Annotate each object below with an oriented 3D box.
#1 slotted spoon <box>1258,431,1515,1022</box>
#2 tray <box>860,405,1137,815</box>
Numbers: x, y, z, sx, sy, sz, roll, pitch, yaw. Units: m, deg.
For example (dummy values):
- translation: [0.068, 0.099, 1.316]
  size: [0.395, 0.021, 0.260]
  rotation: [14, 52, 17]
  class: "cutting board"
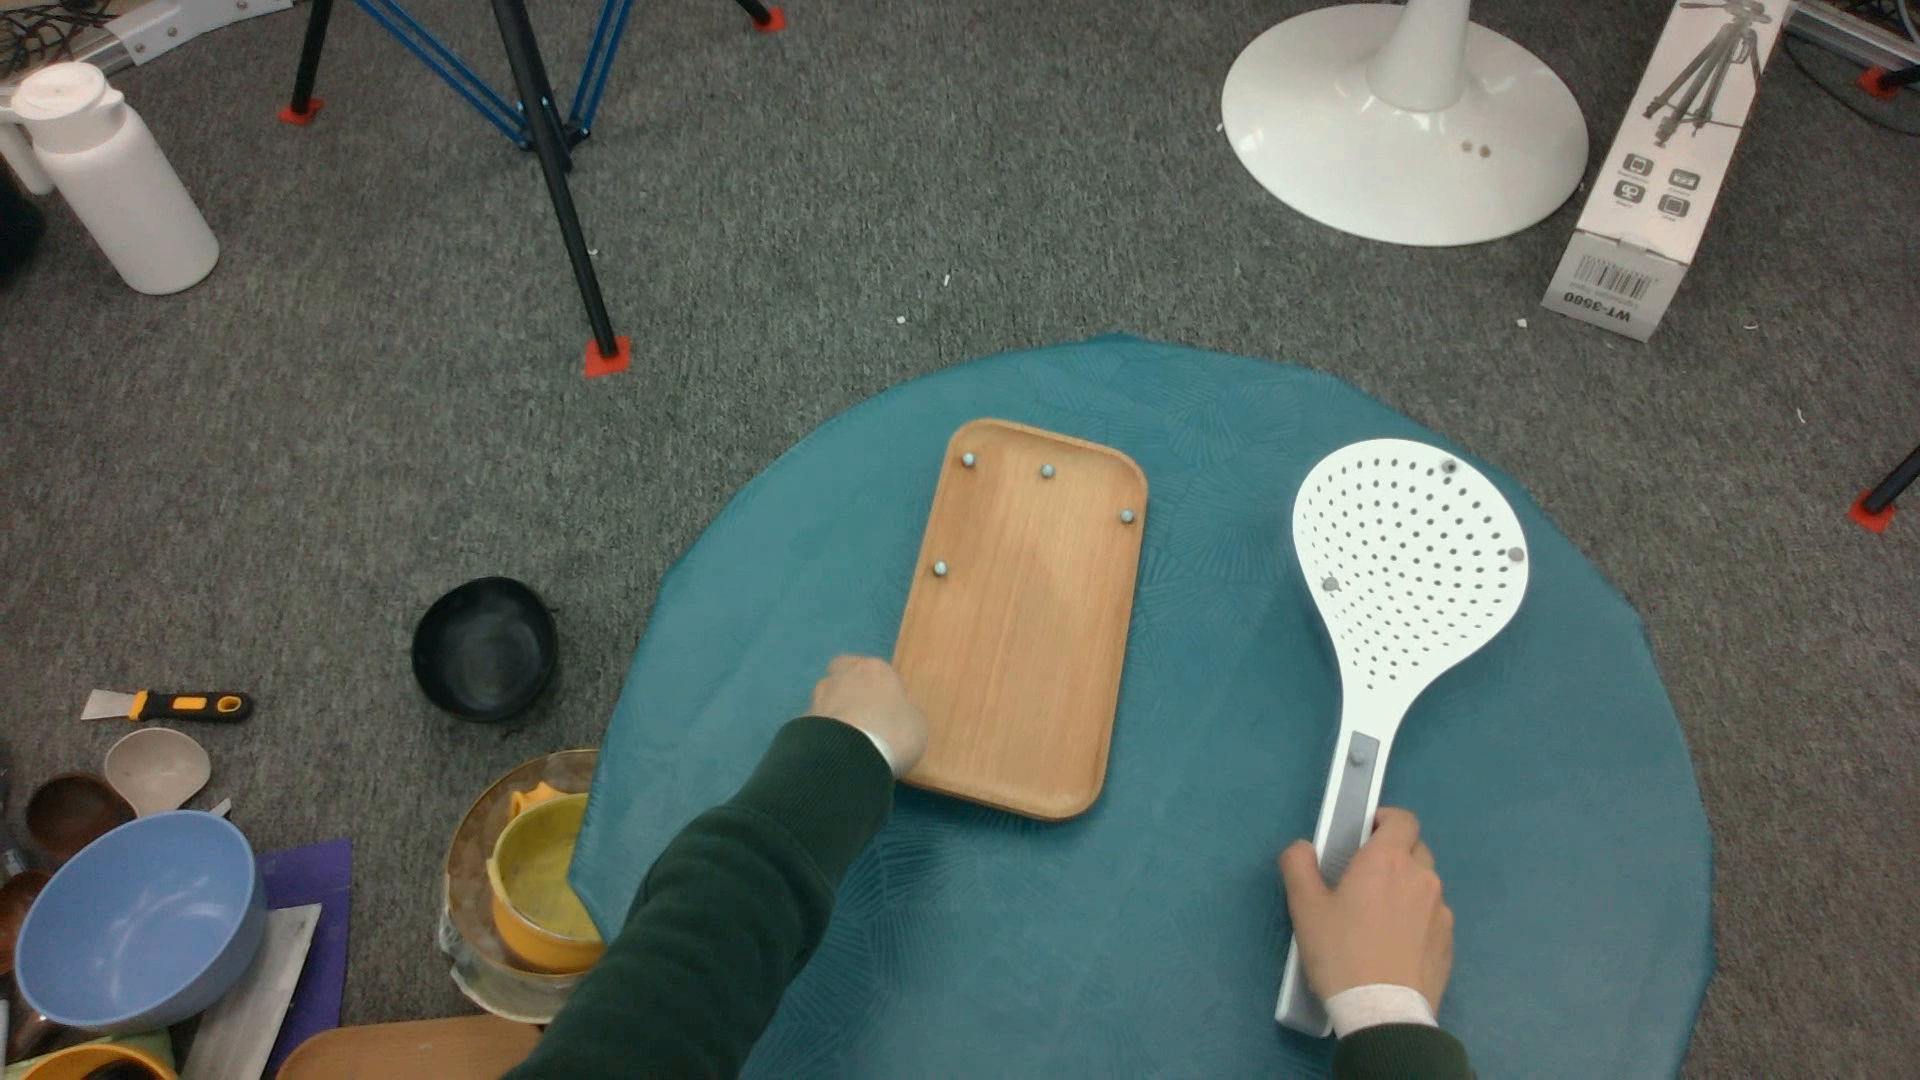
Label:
- translation: [0.217, 0.087, 0.749]
  size: [0.136, 0.045, 0.351]
  rotation: [20, 58, 4]
  class: "slotted spoon"
- translation: [0.027, 0.032, 0.788]
  size: [0.130, 0.023, 0.252]
  rotation: [15, 57, -1]
  class: "tray"
